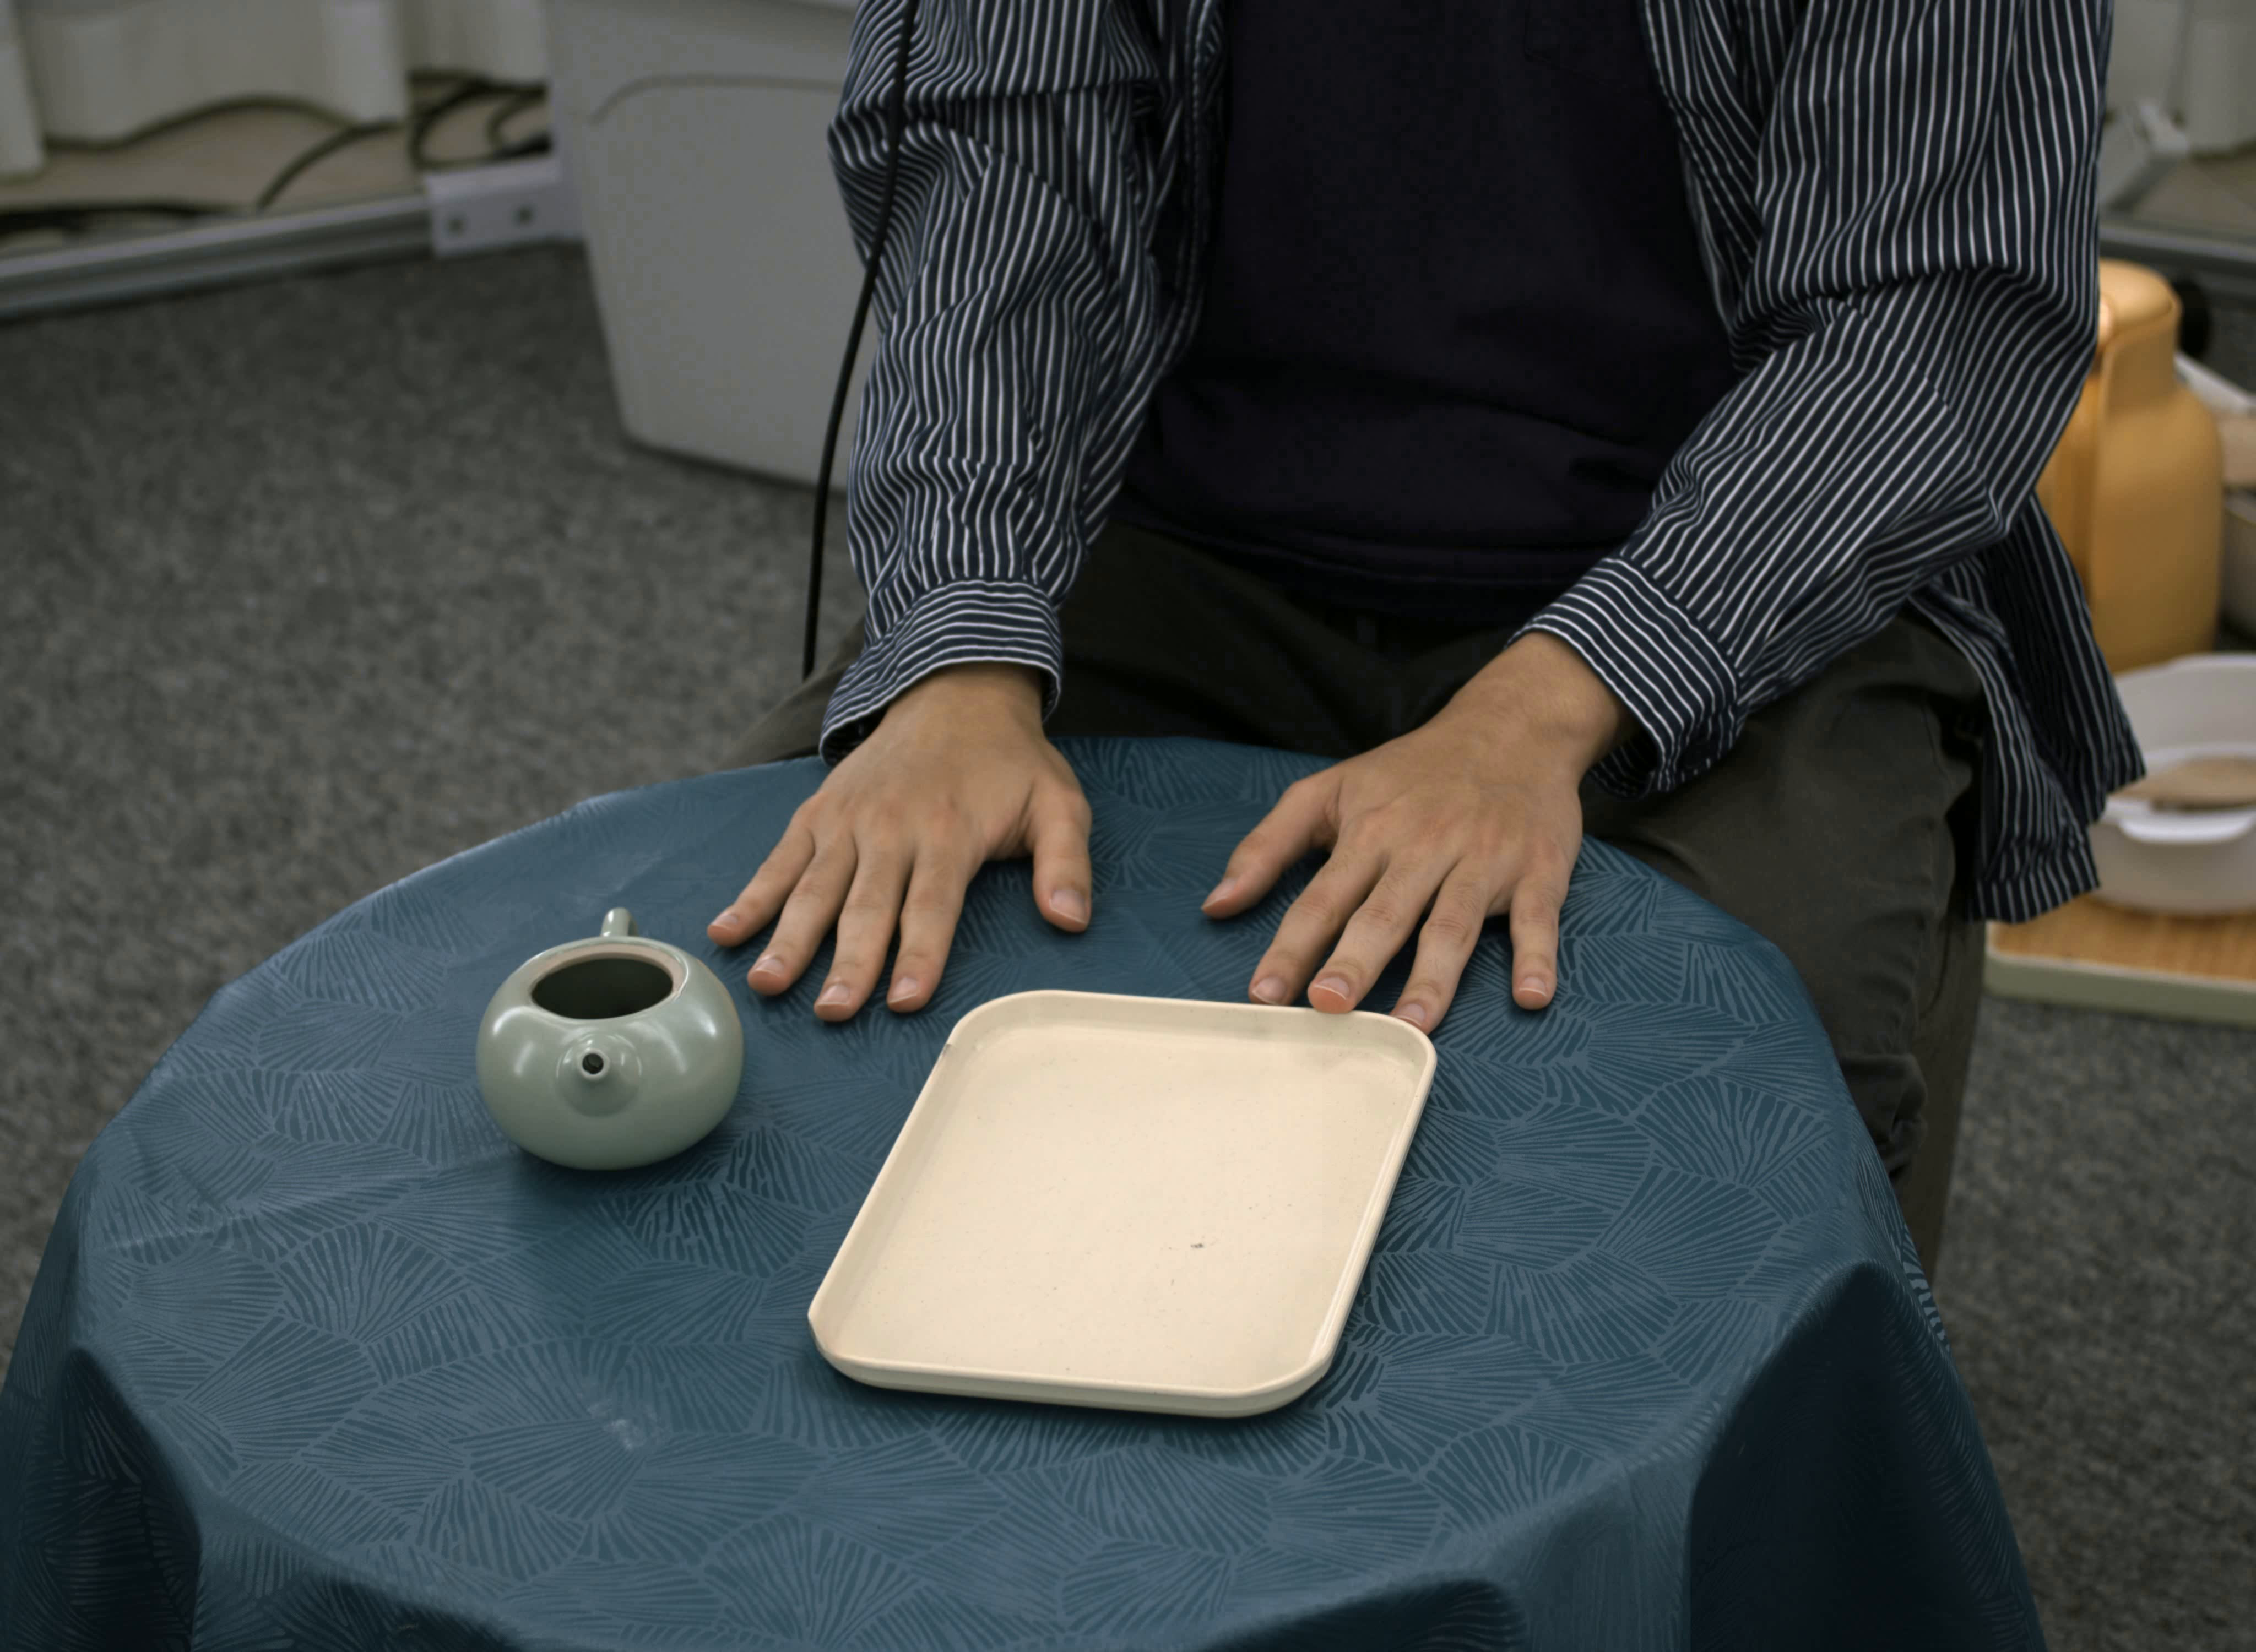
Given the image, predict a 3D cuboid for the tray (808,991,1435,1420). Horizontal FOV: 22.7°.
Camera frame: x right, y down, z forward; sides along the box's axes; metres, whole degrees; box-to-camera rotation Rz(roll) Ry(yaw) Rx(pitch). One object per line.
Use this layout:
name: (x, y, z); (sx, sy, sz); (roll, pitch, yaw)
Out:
tray: (0.001, 0.123, 1.835); (0.170, 0.017, 0.244); (4, 28, 13)

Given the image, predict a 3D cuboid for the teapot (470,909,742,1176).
teapot: (-0.175, 0.074, 1.902); (0.091, 0.060, 0.130); (-3, 27, 5)
